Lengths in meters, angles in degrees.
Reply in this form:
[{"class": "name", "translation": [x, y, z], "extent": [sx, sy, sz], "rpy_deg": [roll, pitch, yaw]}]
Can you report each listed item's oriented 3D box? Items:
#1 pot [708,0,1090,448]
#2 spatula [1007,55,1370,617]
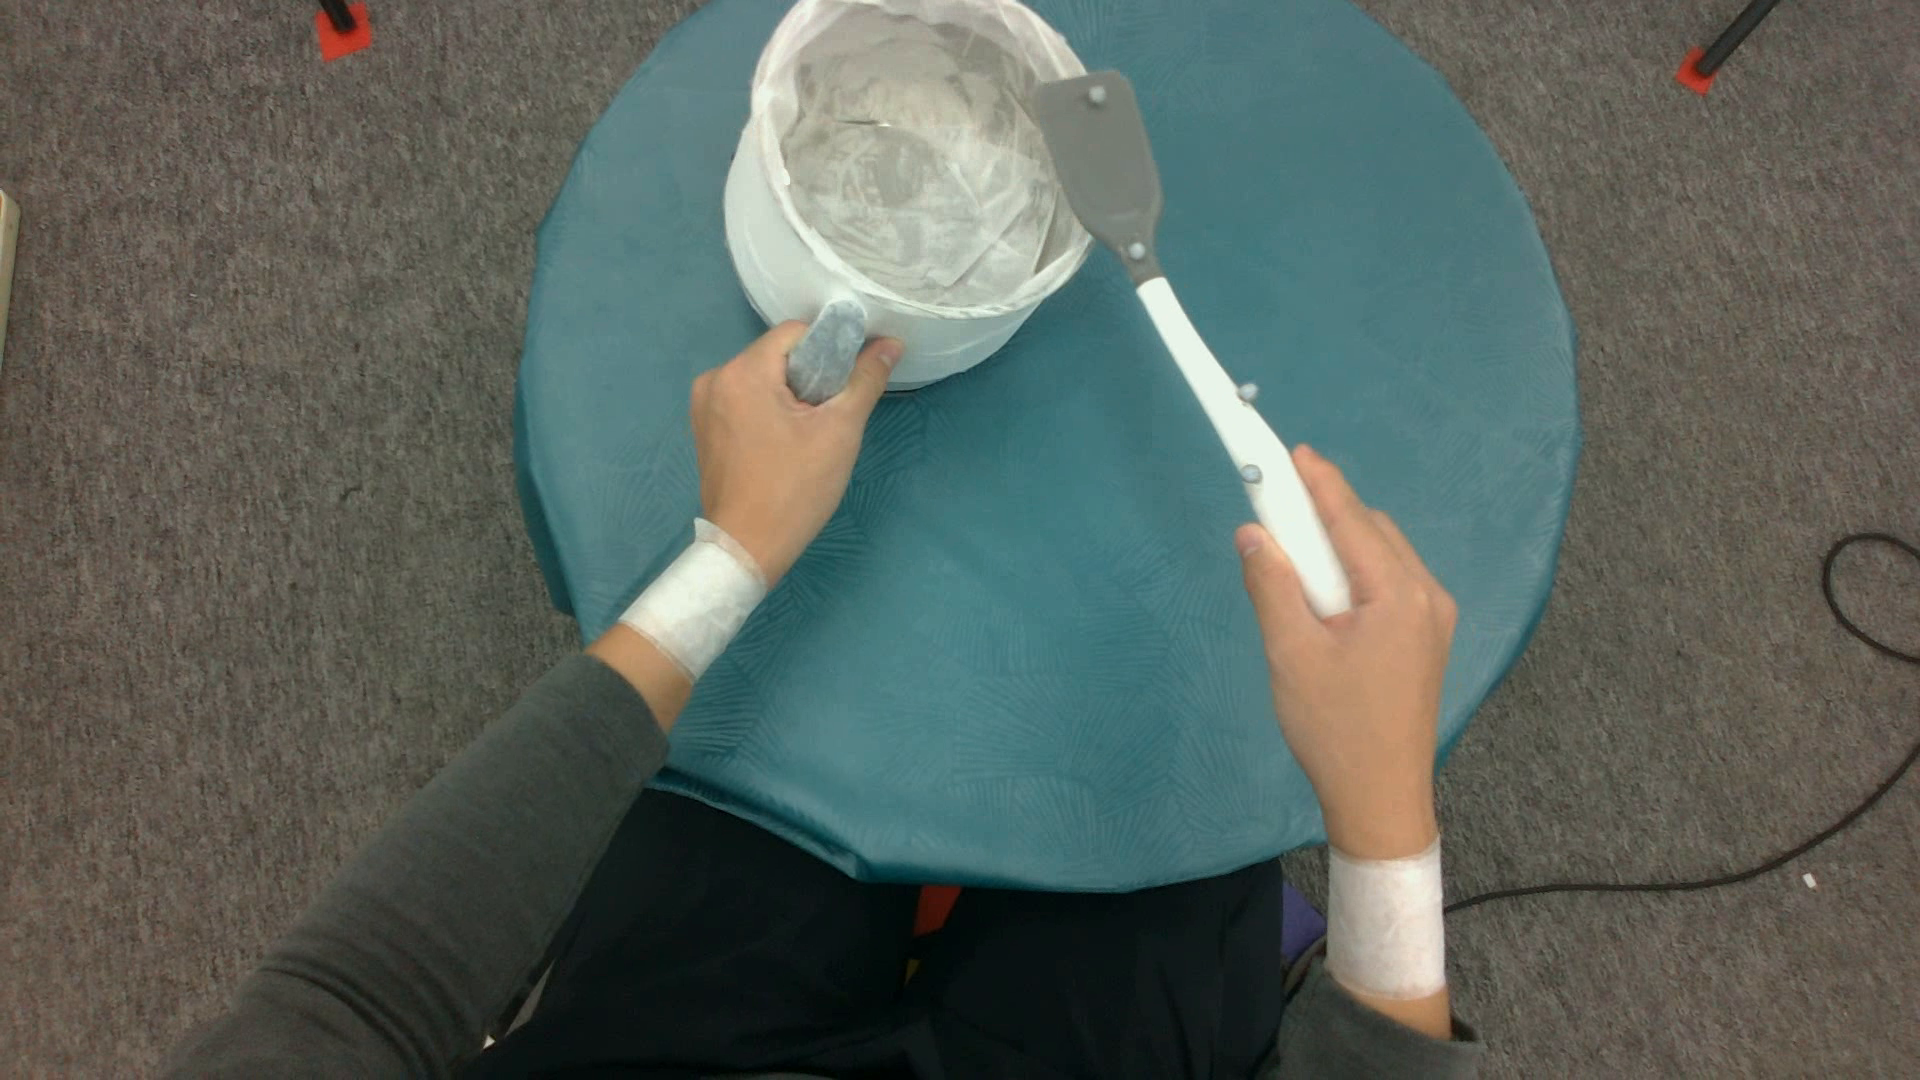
[{"class": "pot", "translation": [-0.045, -0.158, 0.697], "extent": [0.179, 0.136, 0.234], "rpy_deg": [28, 71, -11]}, {"class": "spatula", "translation": [0.098, -0.099, 0.616], "extent": [0.059, 0.032, 0.288], "rpy_deg": [-19, 72, -18]}]
